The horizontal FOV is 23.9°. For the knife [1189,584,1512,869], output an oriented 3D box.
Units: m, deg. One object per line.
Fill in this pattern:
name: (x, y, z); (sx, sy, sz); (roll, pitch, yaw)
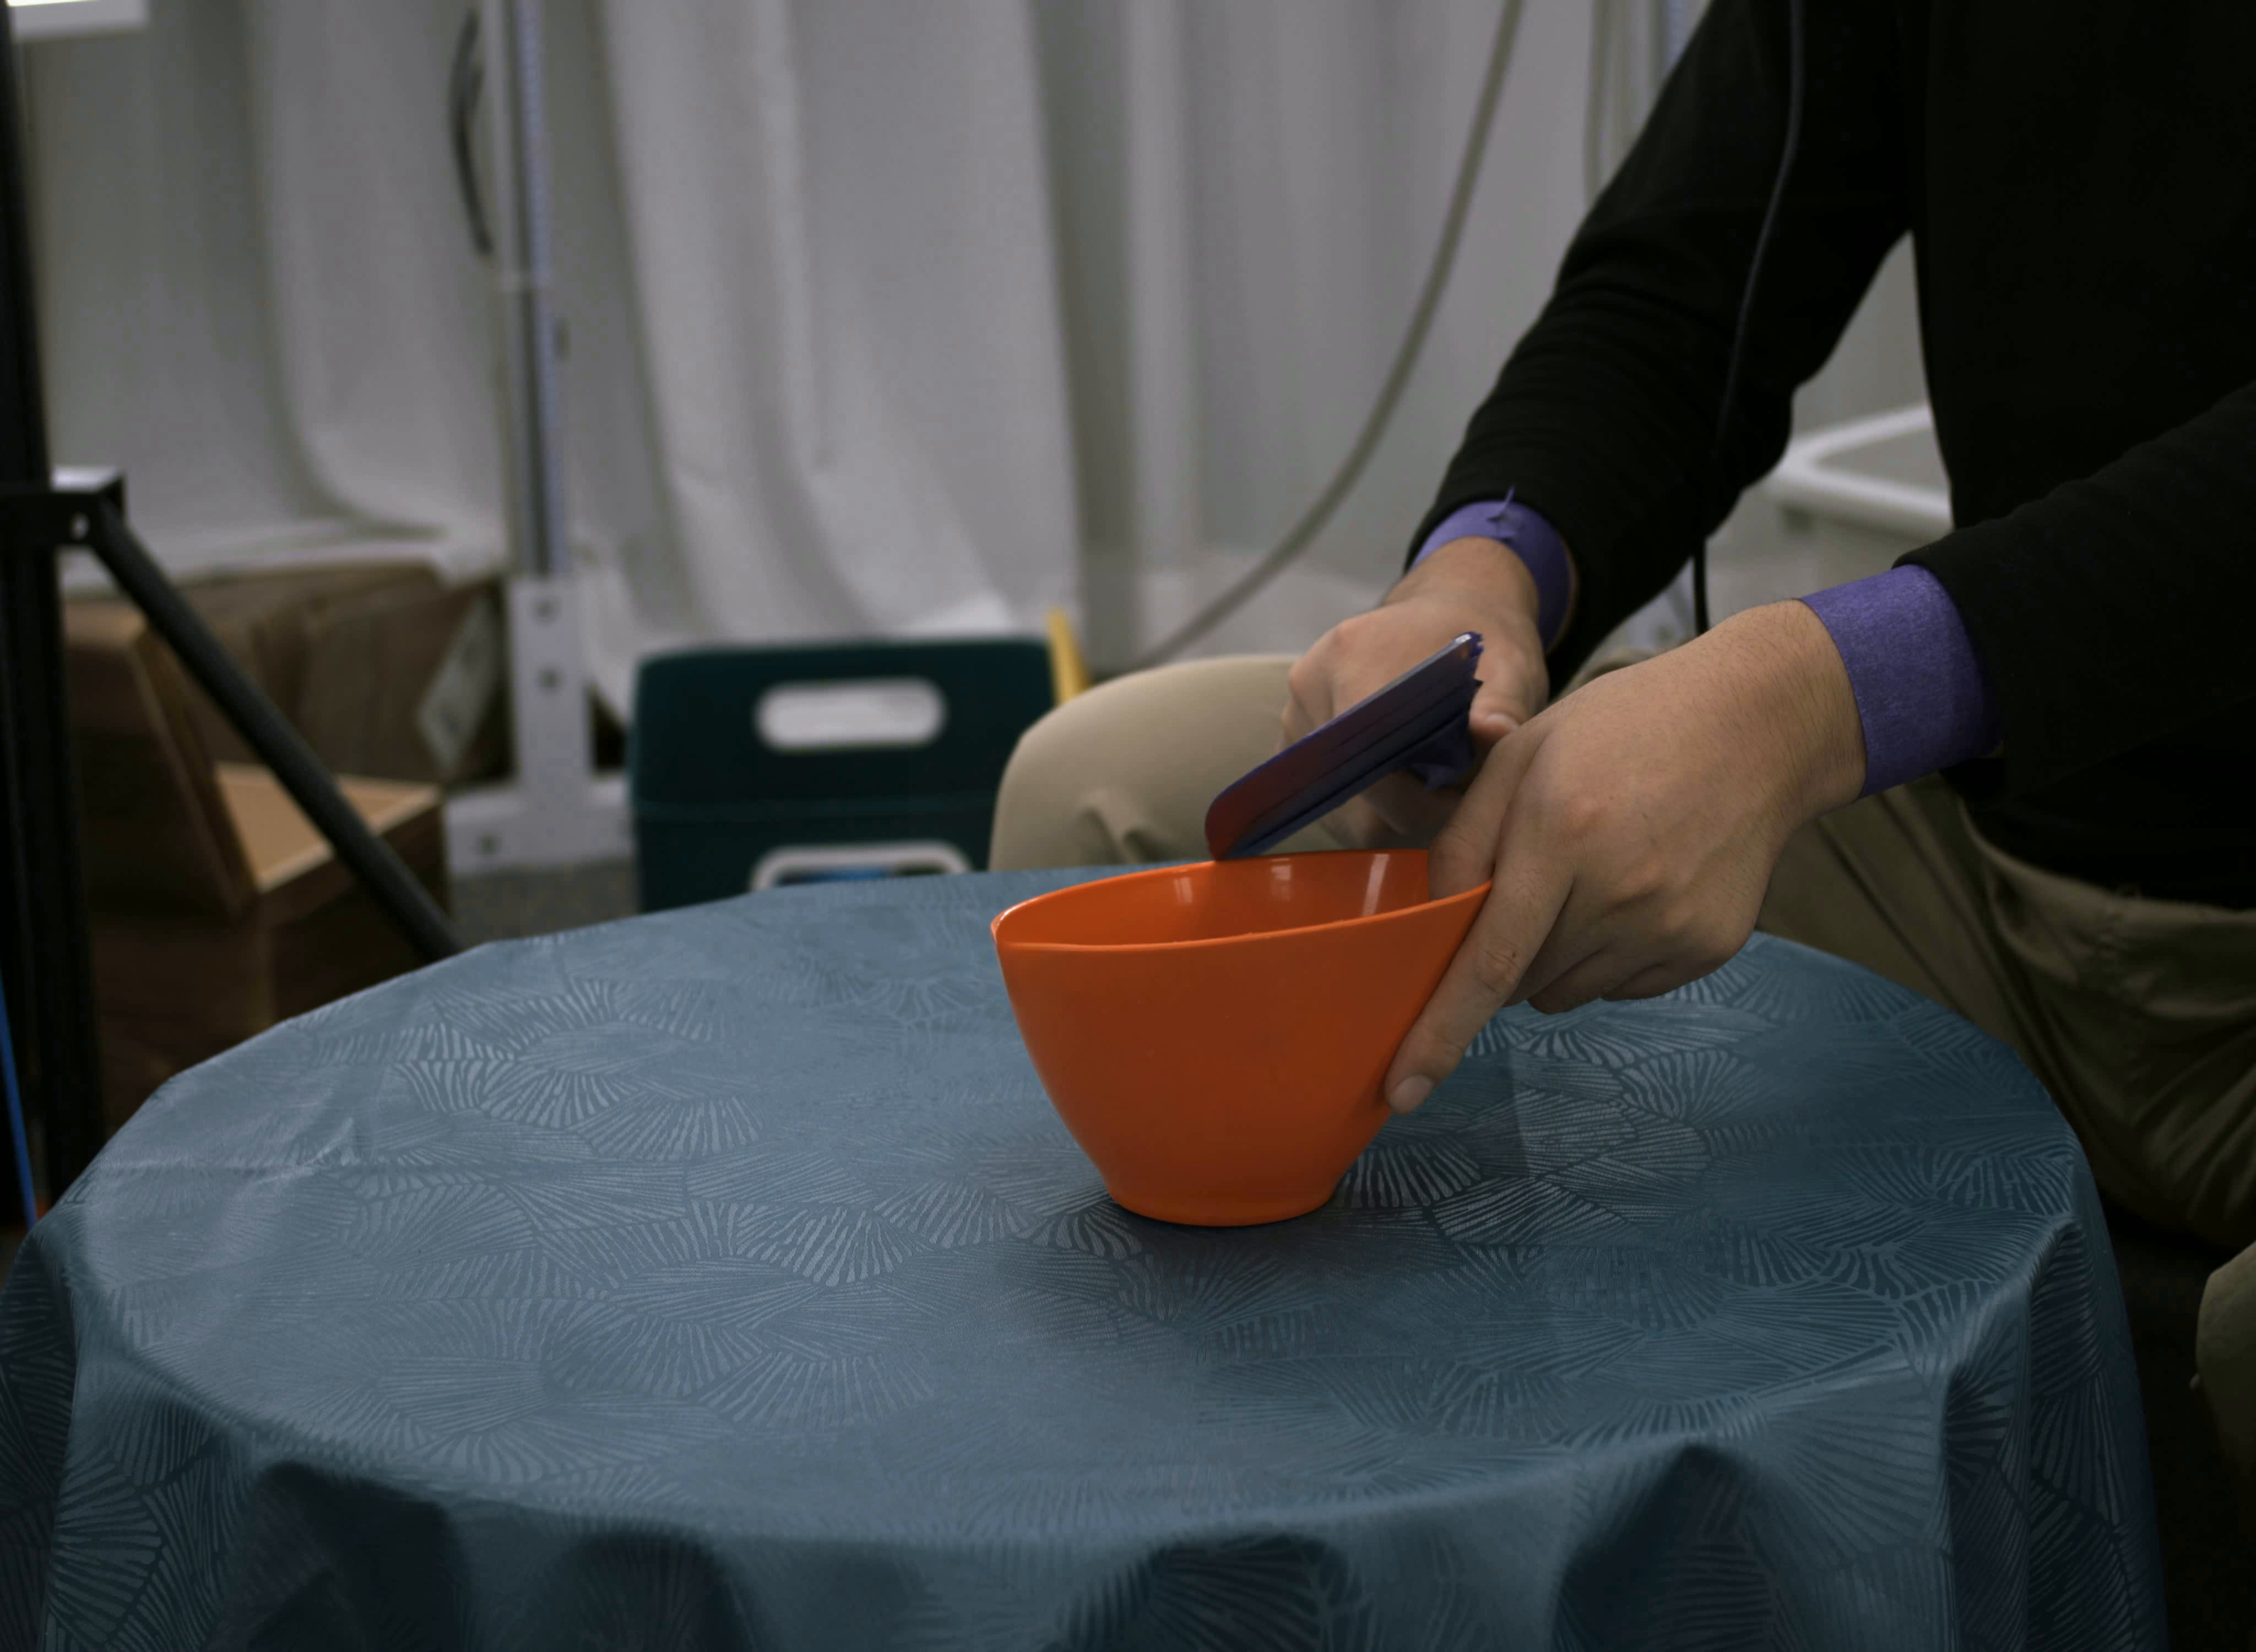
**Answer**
knife: (0.066, -0.019, 1.602); (0.103, 0.032, 0.313); (-32, -9, -2)

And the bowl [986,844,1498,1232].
bowl: (0.033, 0.060, 1.529); (0.147, 0.104, 0.149); (-2, 16, -1)
